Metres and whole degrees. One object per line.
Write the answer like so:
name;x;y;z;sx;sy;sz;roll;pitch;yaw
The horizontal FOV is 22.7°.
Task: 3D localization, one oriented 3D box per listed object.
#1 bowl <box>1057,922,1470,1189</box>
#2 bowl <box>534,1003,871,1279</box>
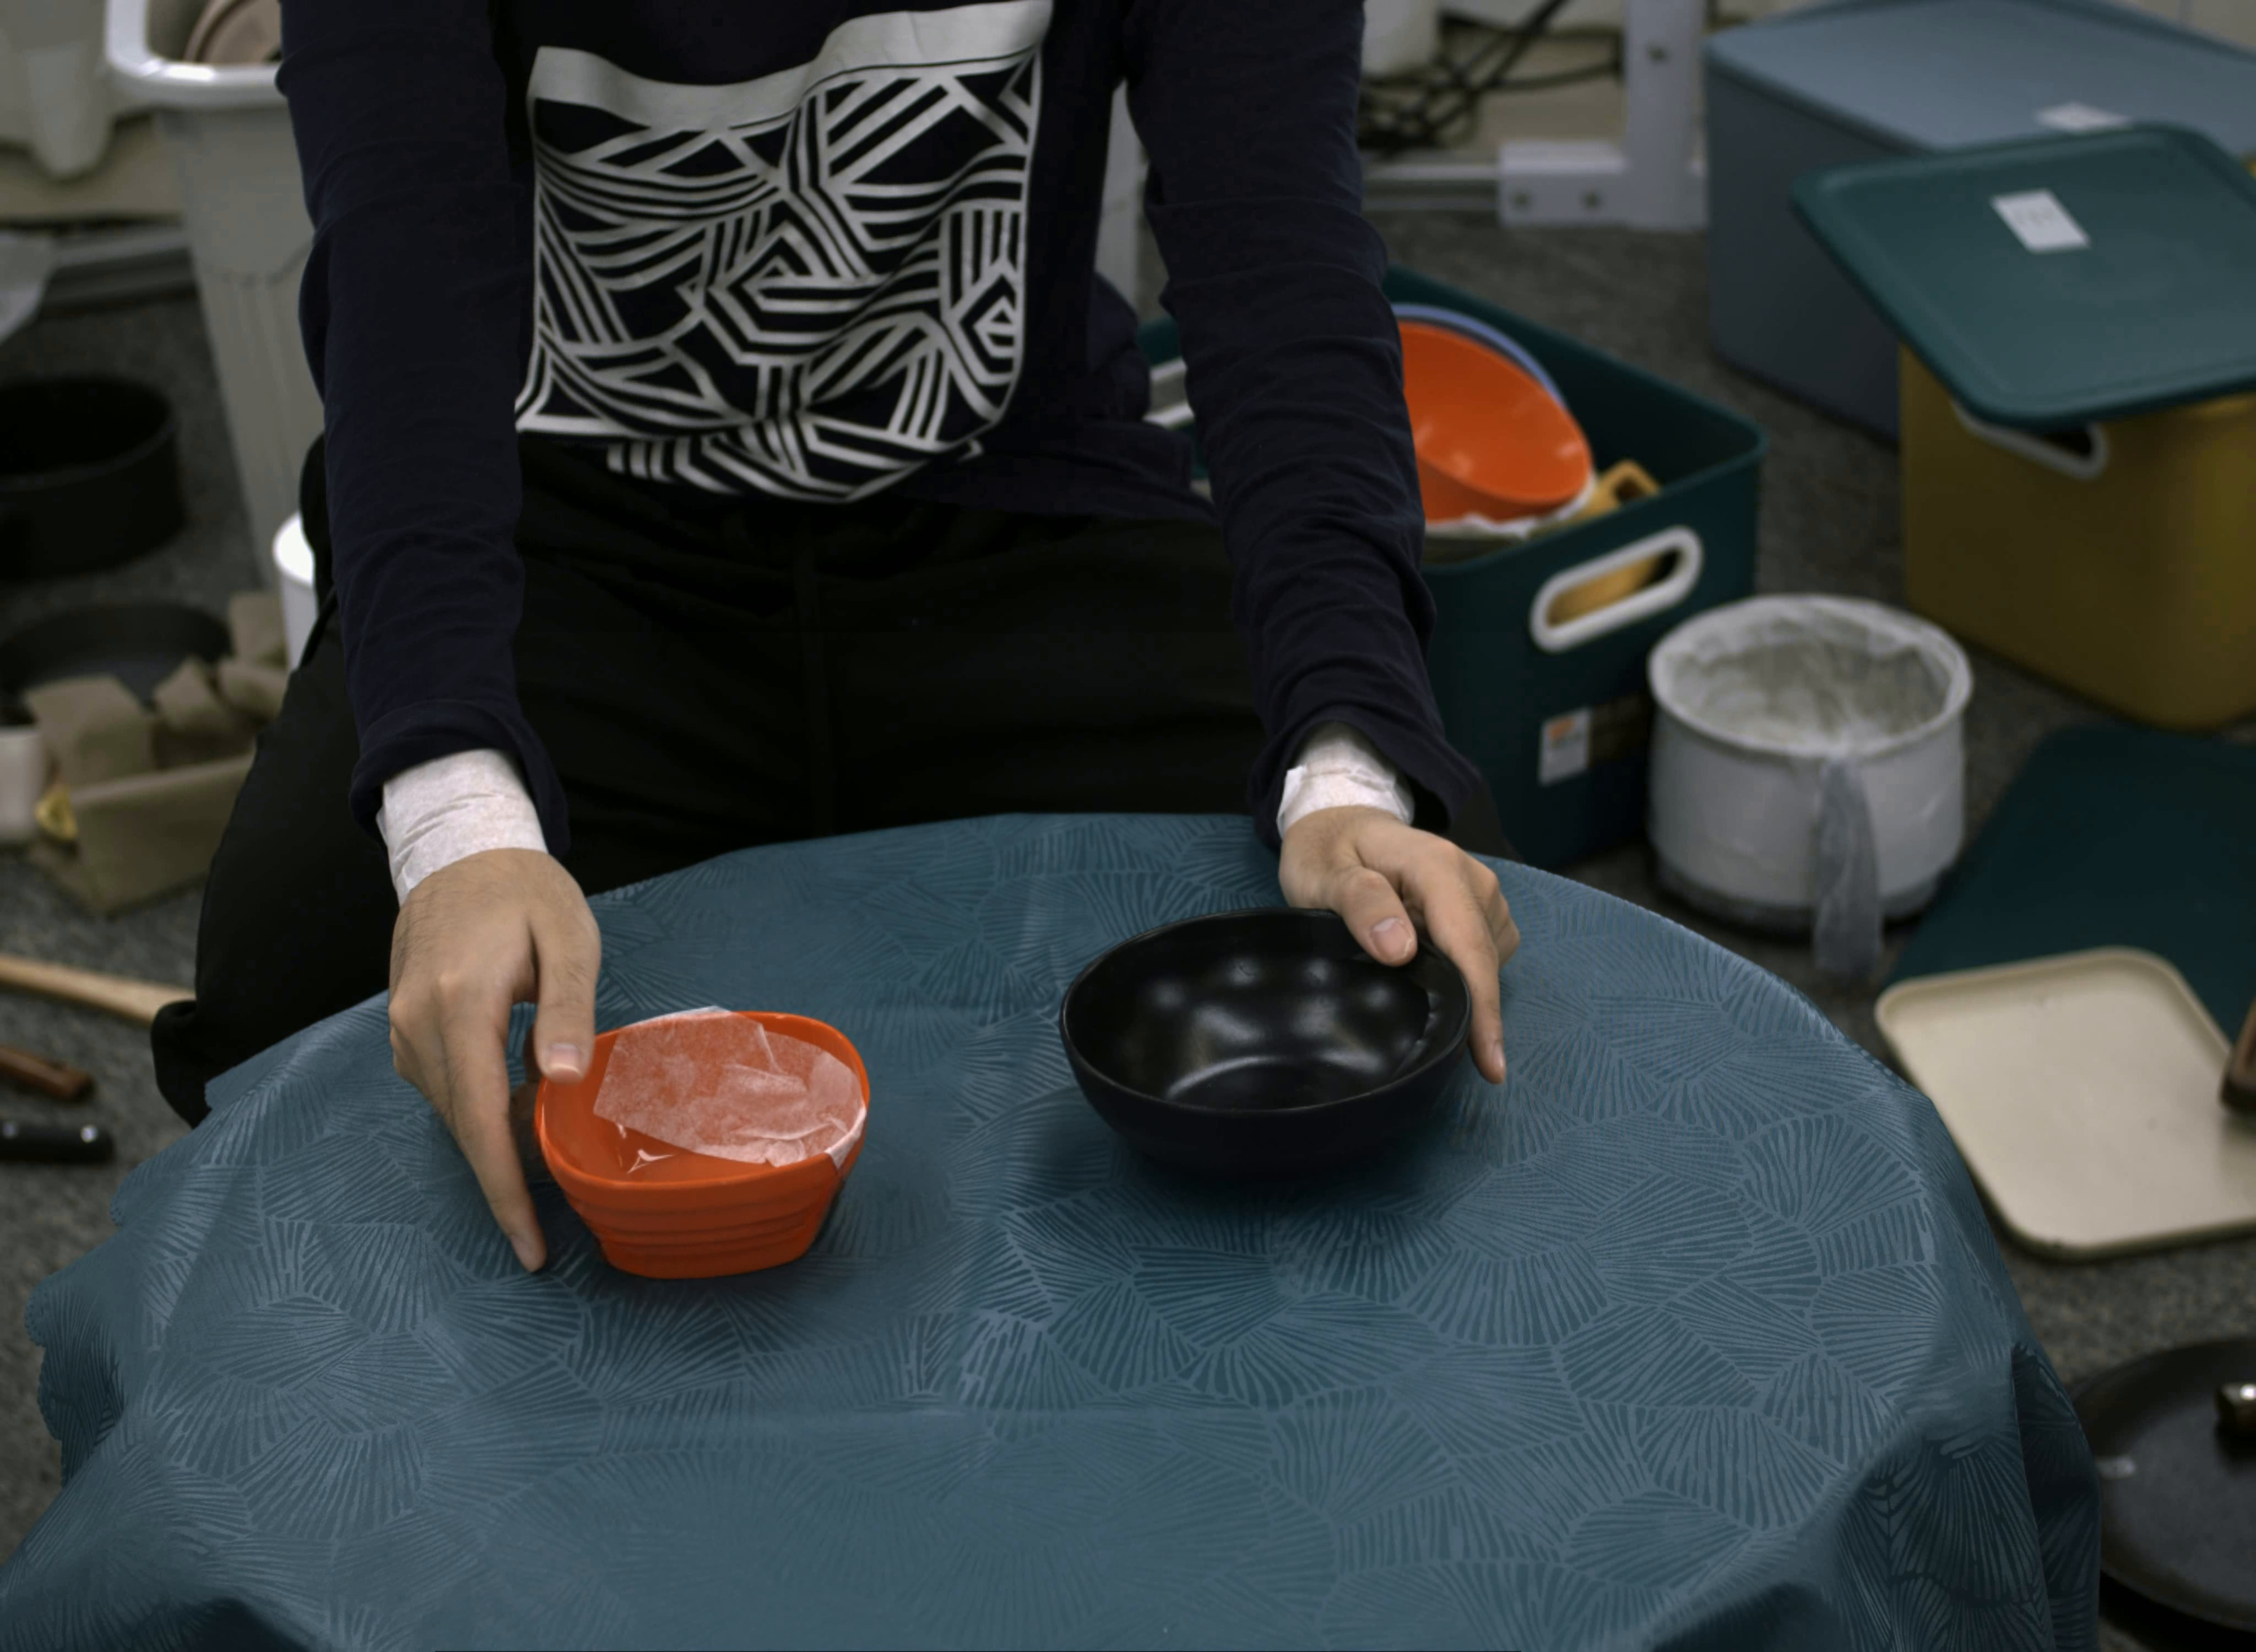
bowl;0.046;0.084;1.883;0.139;0.049;0.142;-3;23;2
bowl;-0.137;0.108;1.843;0.118;0.051;0.121;-3;29;2
